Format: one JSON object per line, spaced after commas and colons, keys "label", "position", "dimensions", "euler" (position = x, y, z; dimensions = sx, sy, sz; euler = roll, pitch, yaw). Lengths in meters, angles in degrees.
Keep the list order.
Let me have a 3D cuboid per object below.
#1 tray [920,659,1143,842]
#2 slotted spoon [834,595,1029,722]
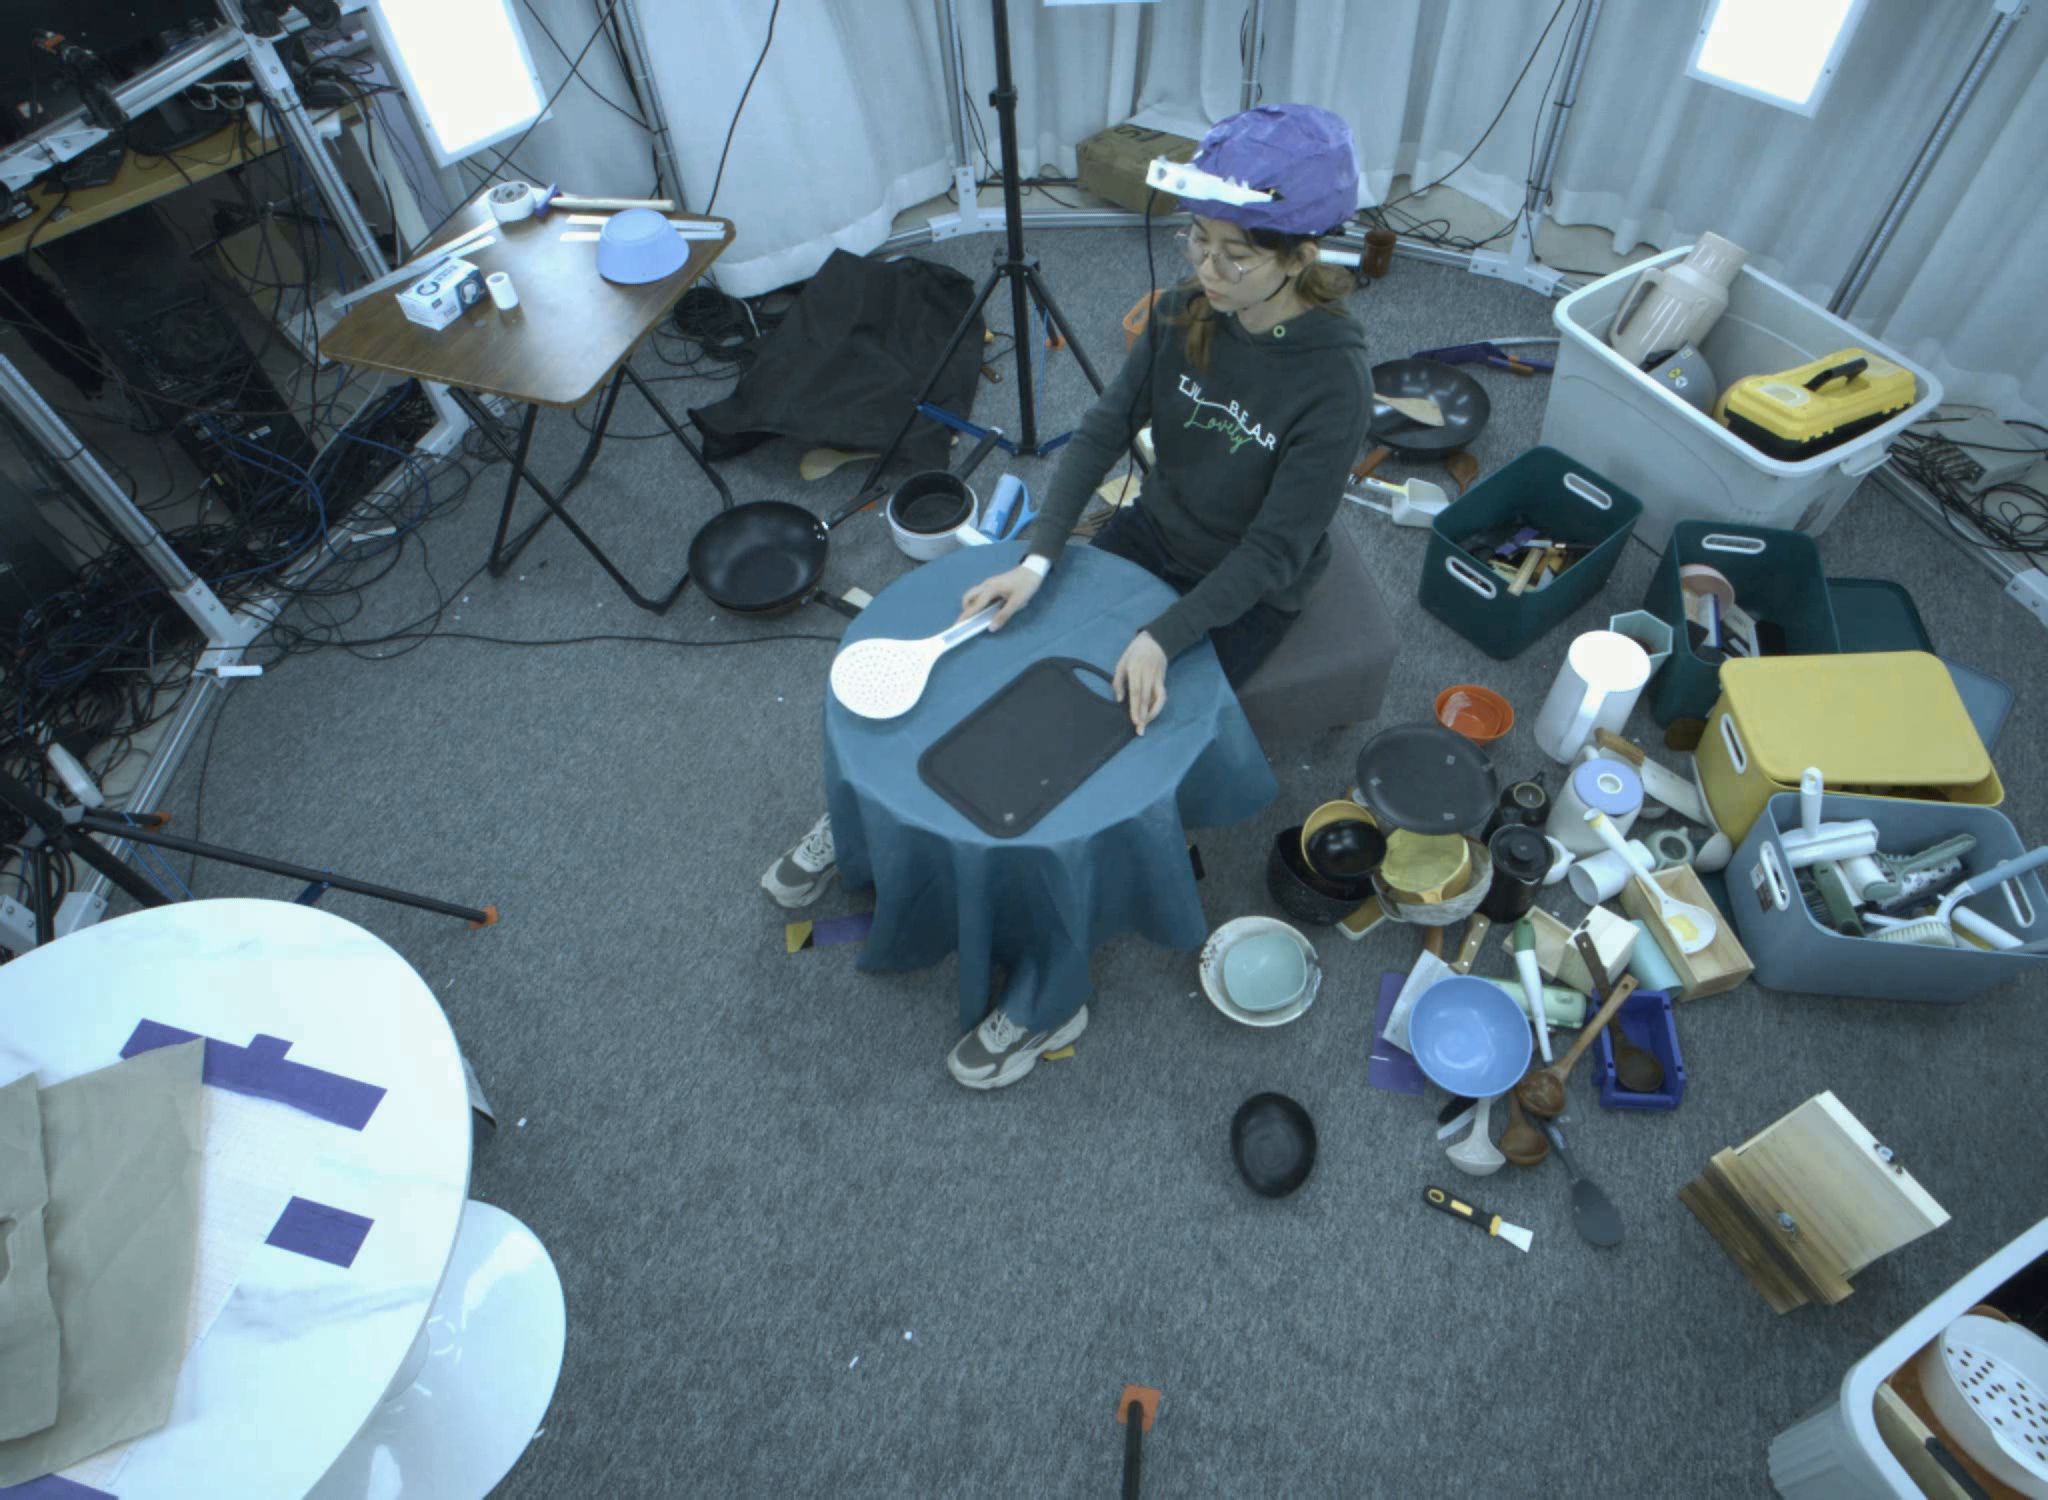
{"label": "tray", "position": [0.017, -0.012, 1.801], "dimensions": [0.207, 0.010, 0.327], "euler": [38, 64, 25]}
{"label": "slotted spoon", "position": [-0.135, -0.153, 1.879], "dimensions": [0.352, 0.046, 0.135], "euler": [-34, 77, -21]}
